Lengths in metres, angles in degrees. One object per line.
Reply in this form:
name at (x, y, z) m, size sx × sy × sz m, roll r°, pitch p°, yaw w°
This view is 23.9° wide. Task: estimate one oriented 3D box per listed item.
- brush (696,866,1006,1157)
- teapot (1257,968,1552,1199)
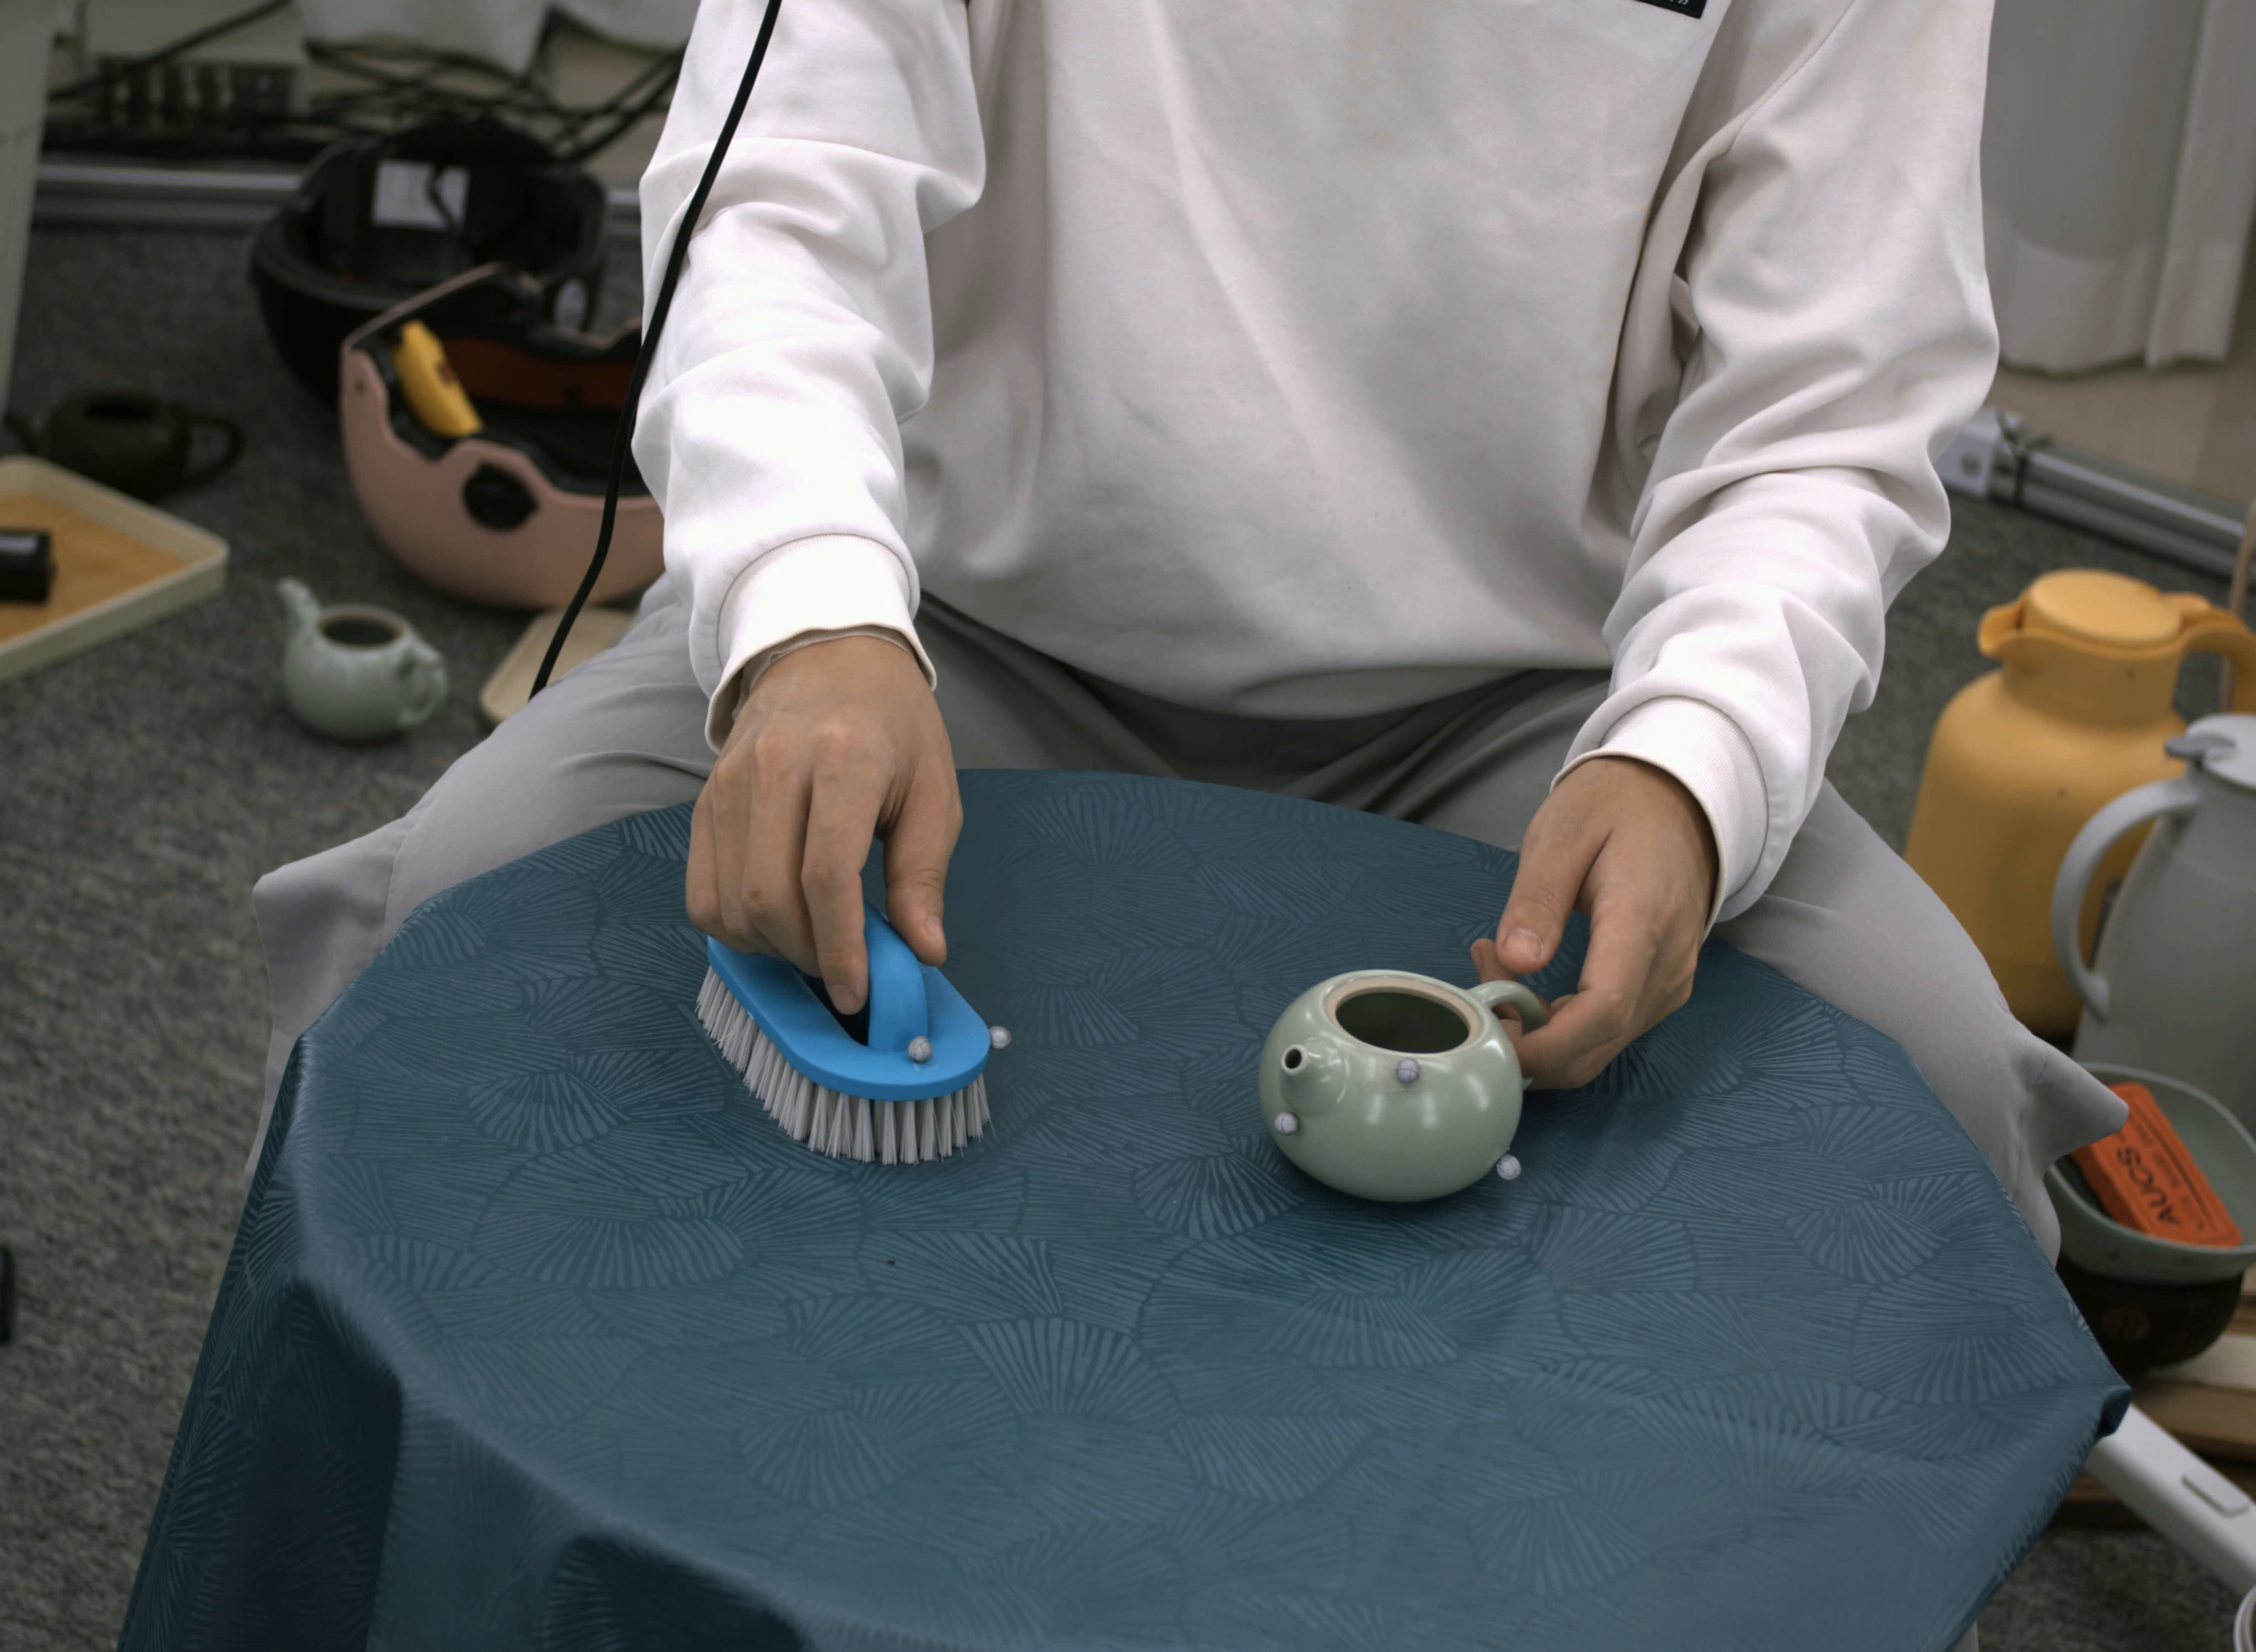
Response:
brush at (-0.098, 0.056, 1.848) m, size 0.084 × 0.063 × 0.143 m, roll -13°, pitch 30°, yaw -24°
teapot at (0.097, 0.088, 1.835) m, size 0.127 × 0.061 × 0.092 m, roll -13°, pitch 30°, yaw -36°
